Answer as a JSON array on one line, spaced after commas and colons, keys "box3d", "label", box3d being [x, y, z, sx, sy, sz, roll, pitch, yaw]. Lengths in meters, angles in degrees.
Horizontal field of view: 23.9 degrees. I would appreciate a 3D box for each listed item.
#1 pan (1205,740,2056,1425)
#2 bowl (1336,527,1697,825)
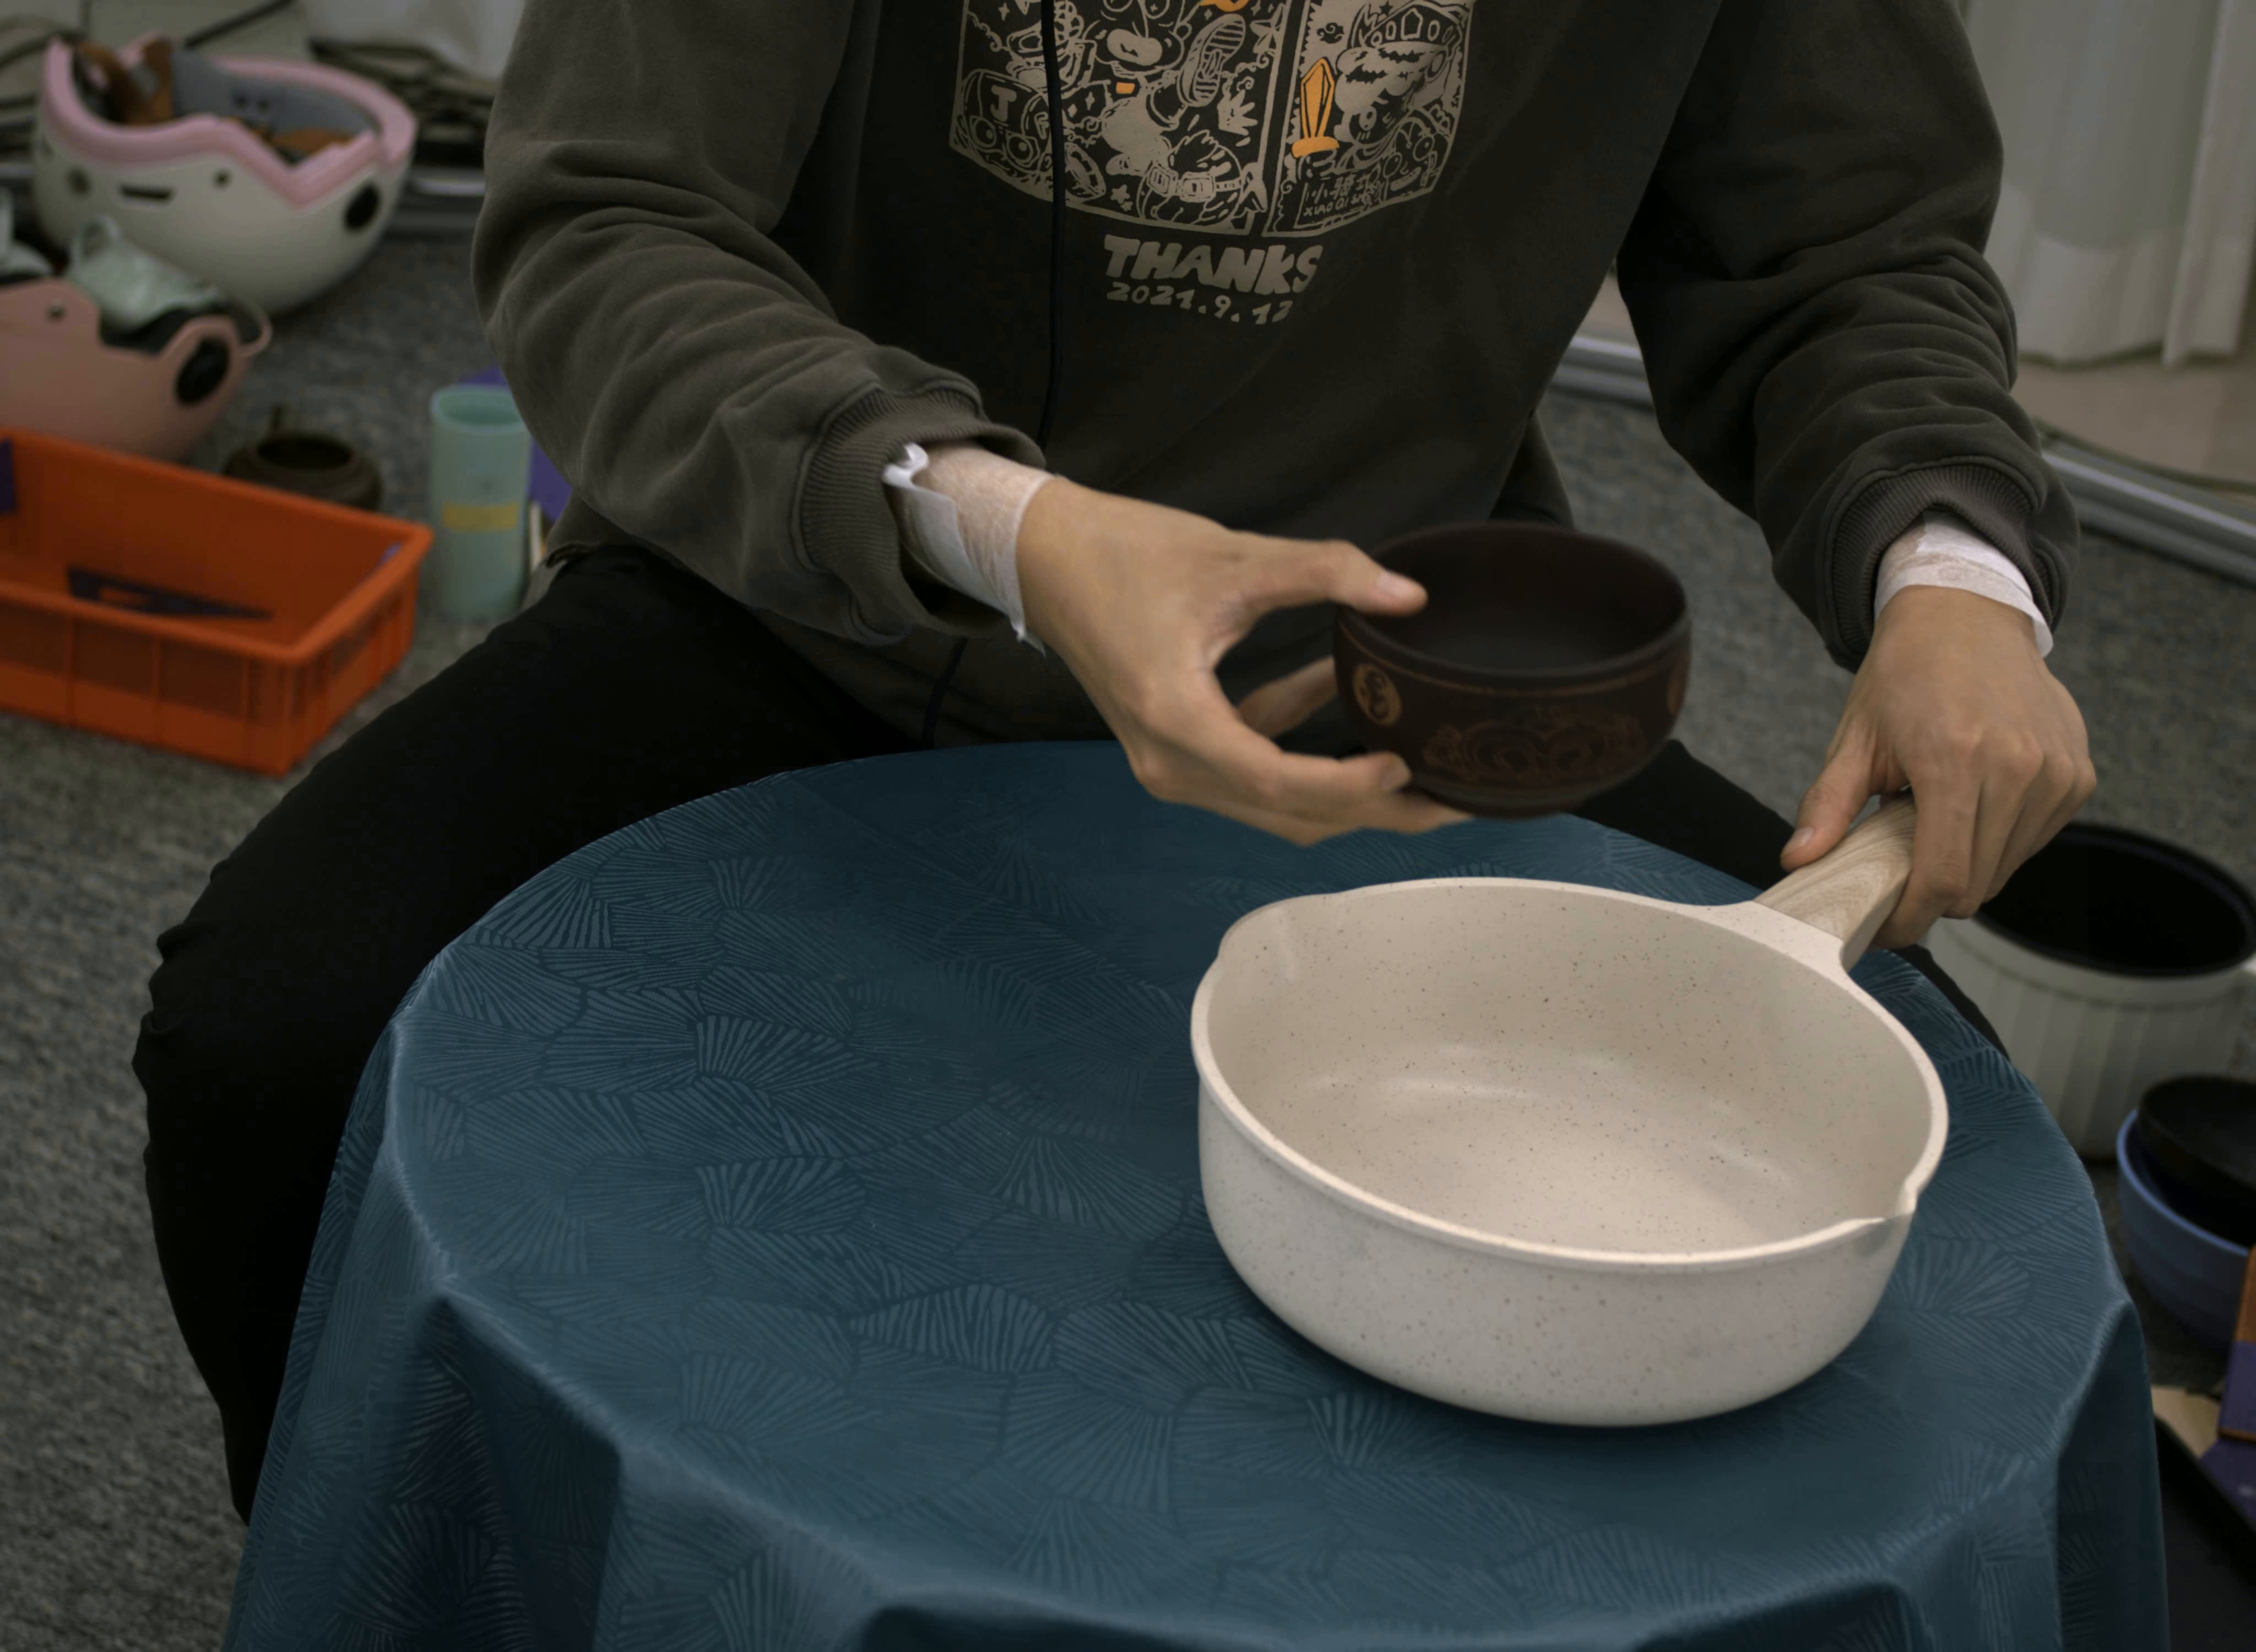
[{"box3d": [0.202, 0.079, 1.829, 0.265, 0.101, 0.433, 22, 30, 32], "label": "pan"}, {"box3d": [0.126, -0.043, 1.740, 0.118, 0.069, 0.119, -1, 27, 0], "label": "bowl"}]
